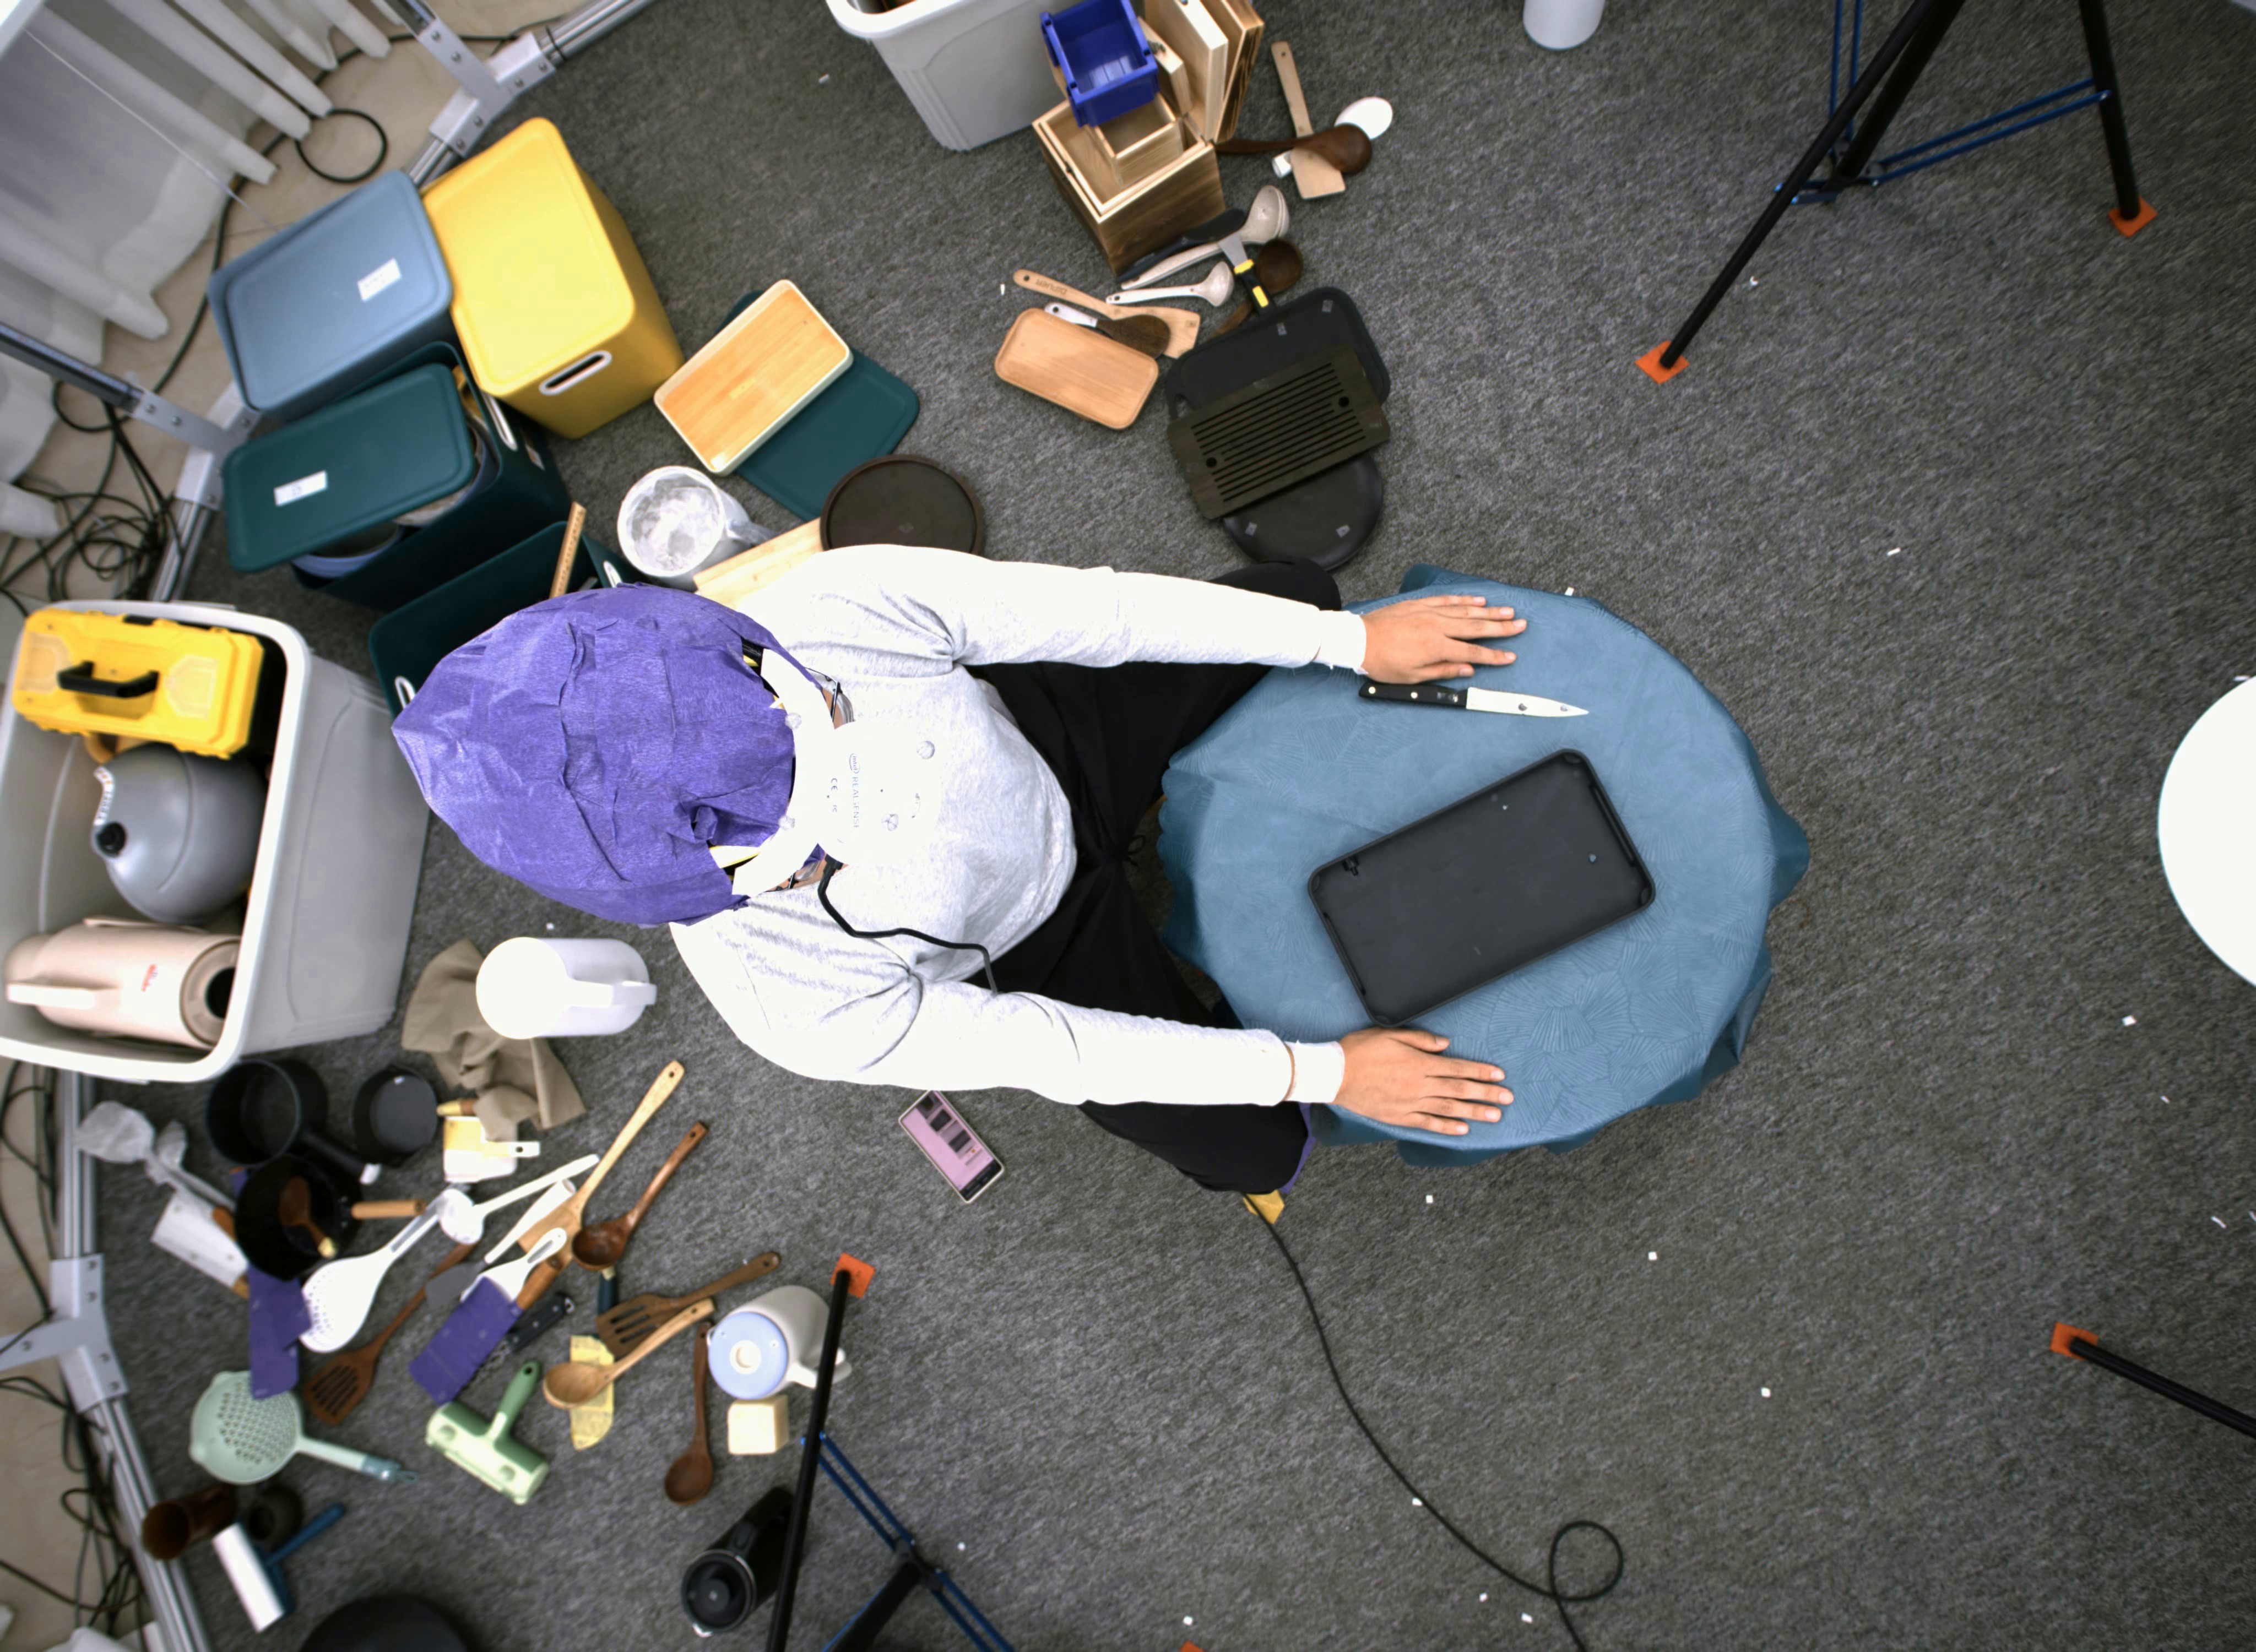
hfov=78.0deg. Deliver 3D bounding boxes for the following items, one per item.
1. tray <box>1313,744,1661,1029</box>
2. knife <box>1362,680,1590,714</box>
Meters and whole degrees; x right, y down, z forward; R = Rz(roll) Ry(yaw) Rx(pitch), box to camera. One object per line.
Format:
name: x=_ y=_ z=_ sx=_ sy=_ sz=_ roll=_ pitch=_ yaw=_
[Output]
tray: x=0.367 y=0.061 z=1.424 sx=0.320 sy=0.037 sz=0.183 roll=-28 pitch=82 yaw=9
knife: x=0.367 y=-0.136 z=1.448 sx=0.239 sy=0.016 sz=0.024 roll=6 pitch=89 yaw=8
